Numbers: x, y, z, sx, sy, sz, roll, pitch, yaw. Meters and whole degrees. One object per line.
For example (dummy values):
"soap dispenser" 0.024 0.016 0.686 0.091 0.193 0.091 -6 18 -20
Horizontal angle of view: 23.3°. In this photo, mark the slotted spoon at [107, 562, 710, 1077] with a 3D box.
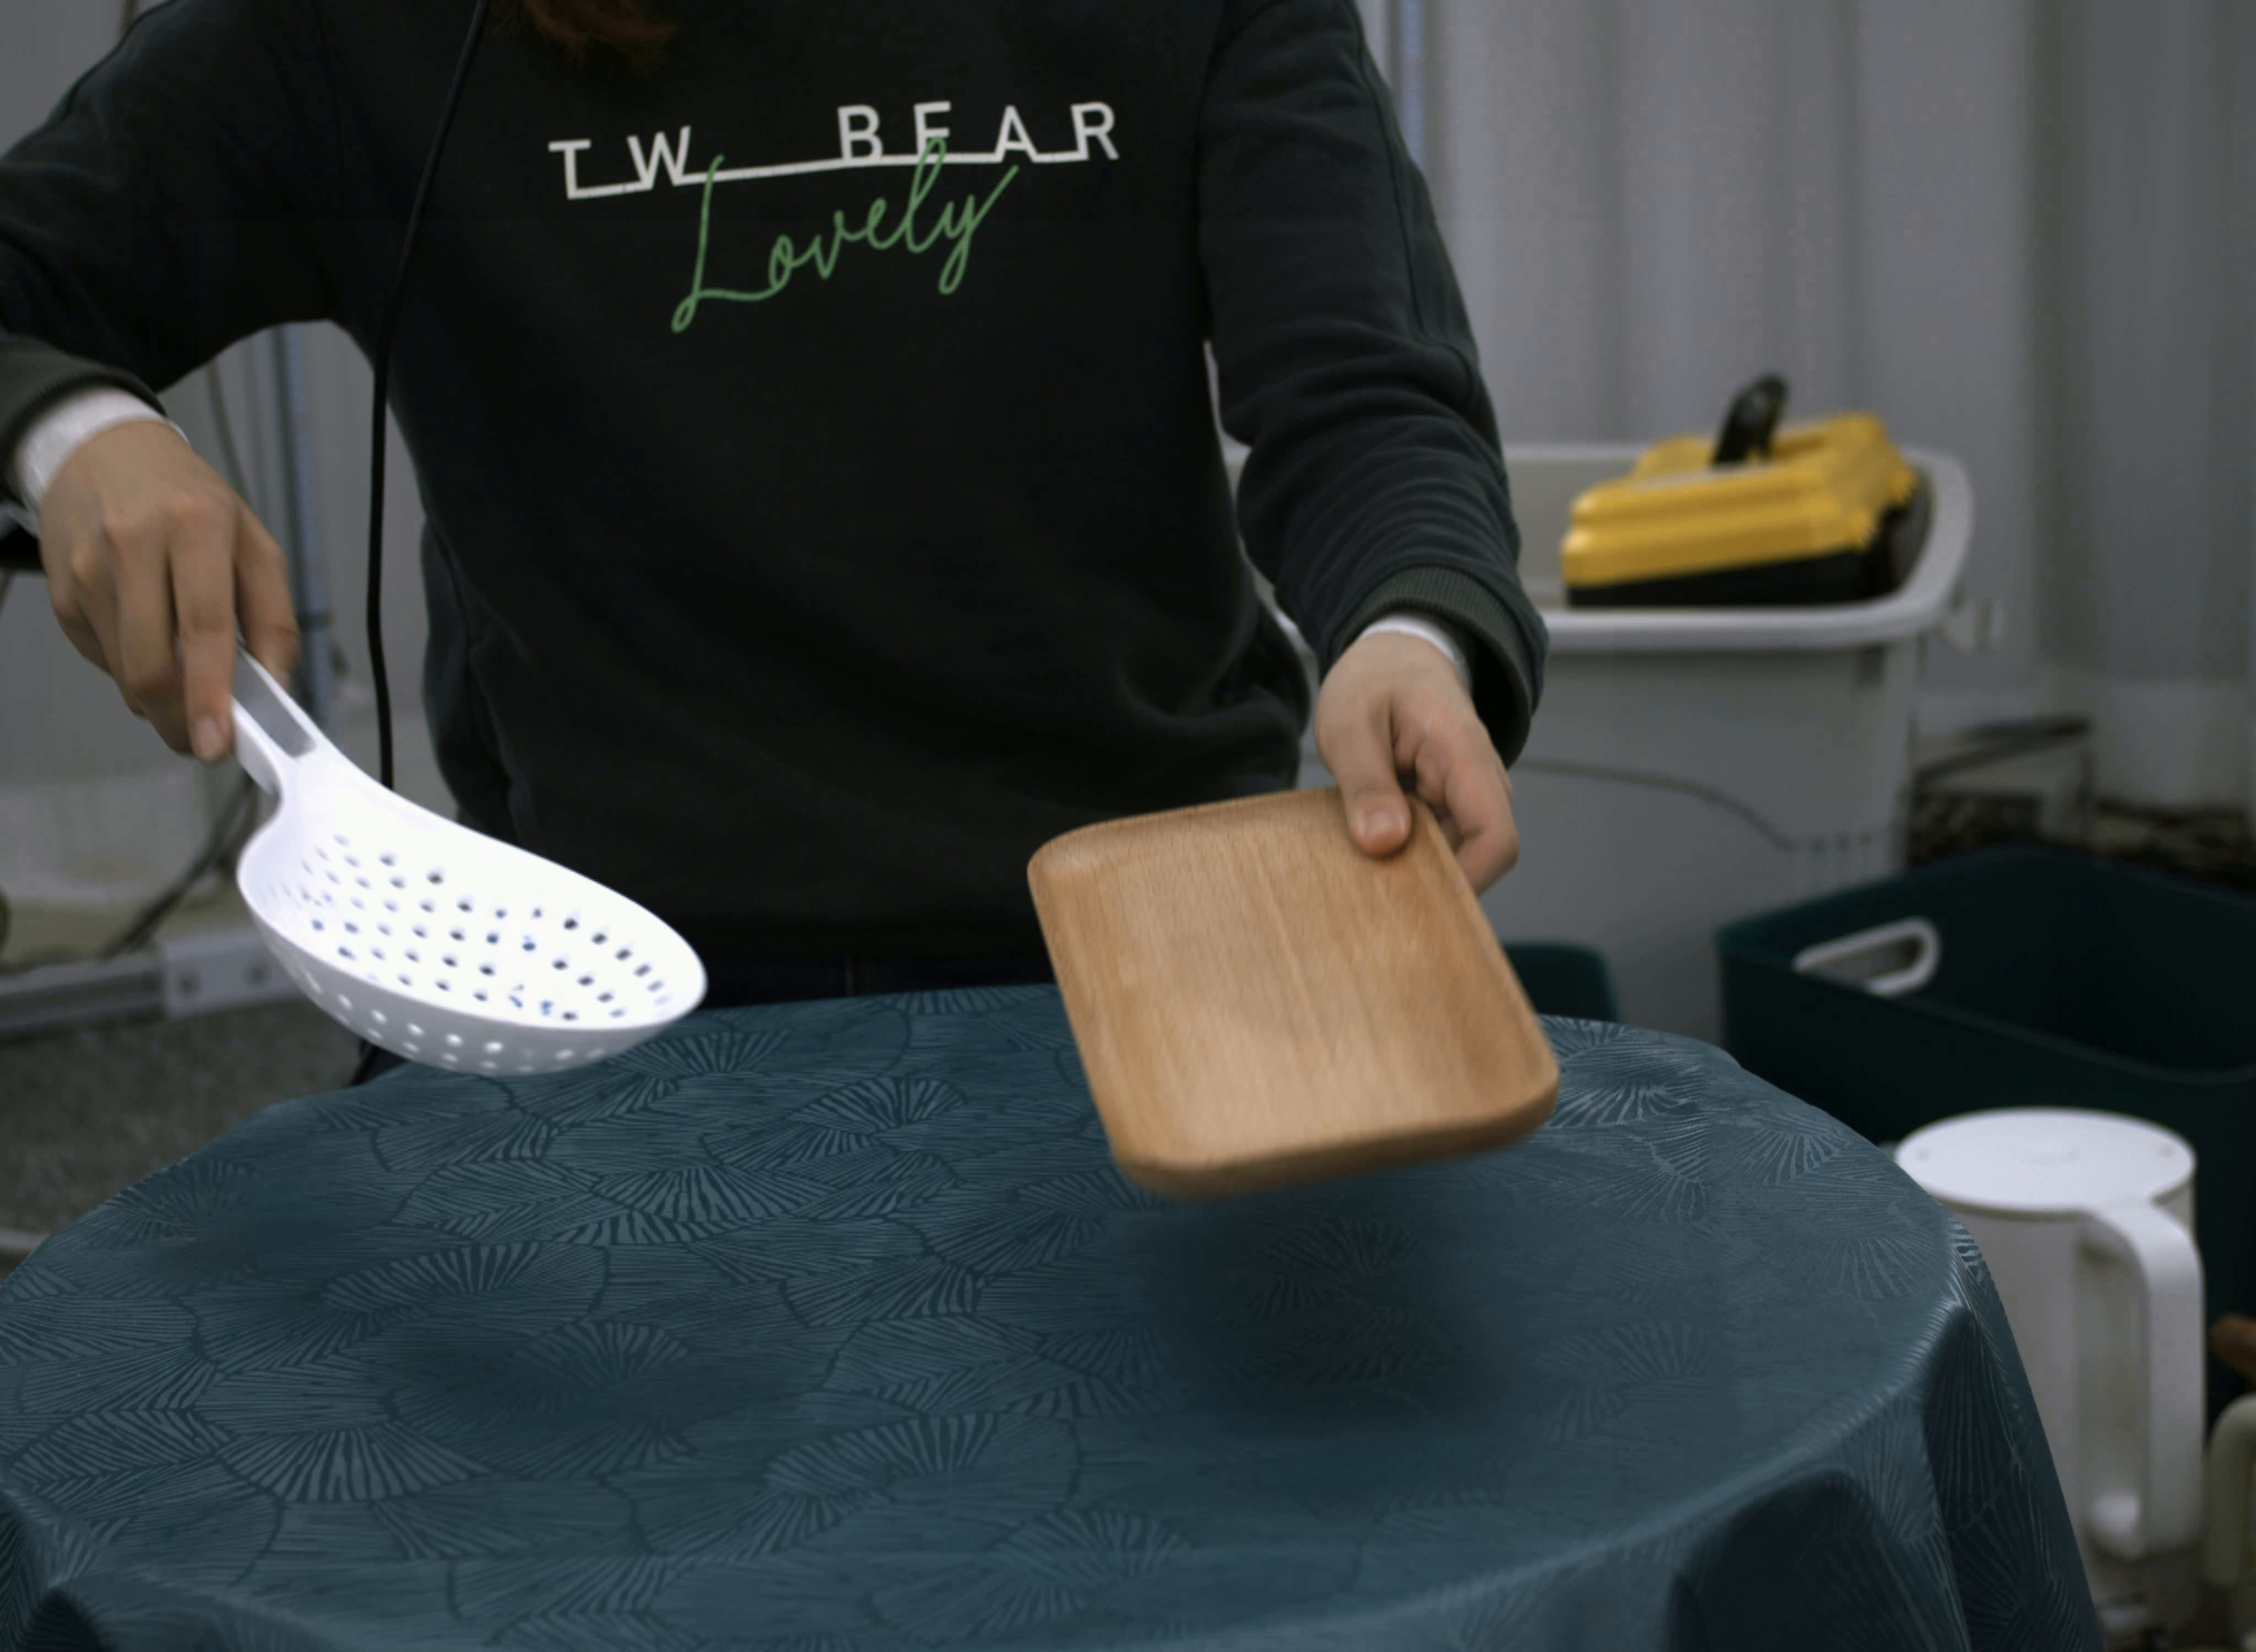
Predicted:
"slotted spoon" -0.238 -0.009 1.644 0.135 0.045 0.354 6 25 -33

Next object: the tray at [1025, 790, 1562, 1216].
"tray" 0.044 0.048 1.596 0.130 0.023 0.253 -7 22 -4
